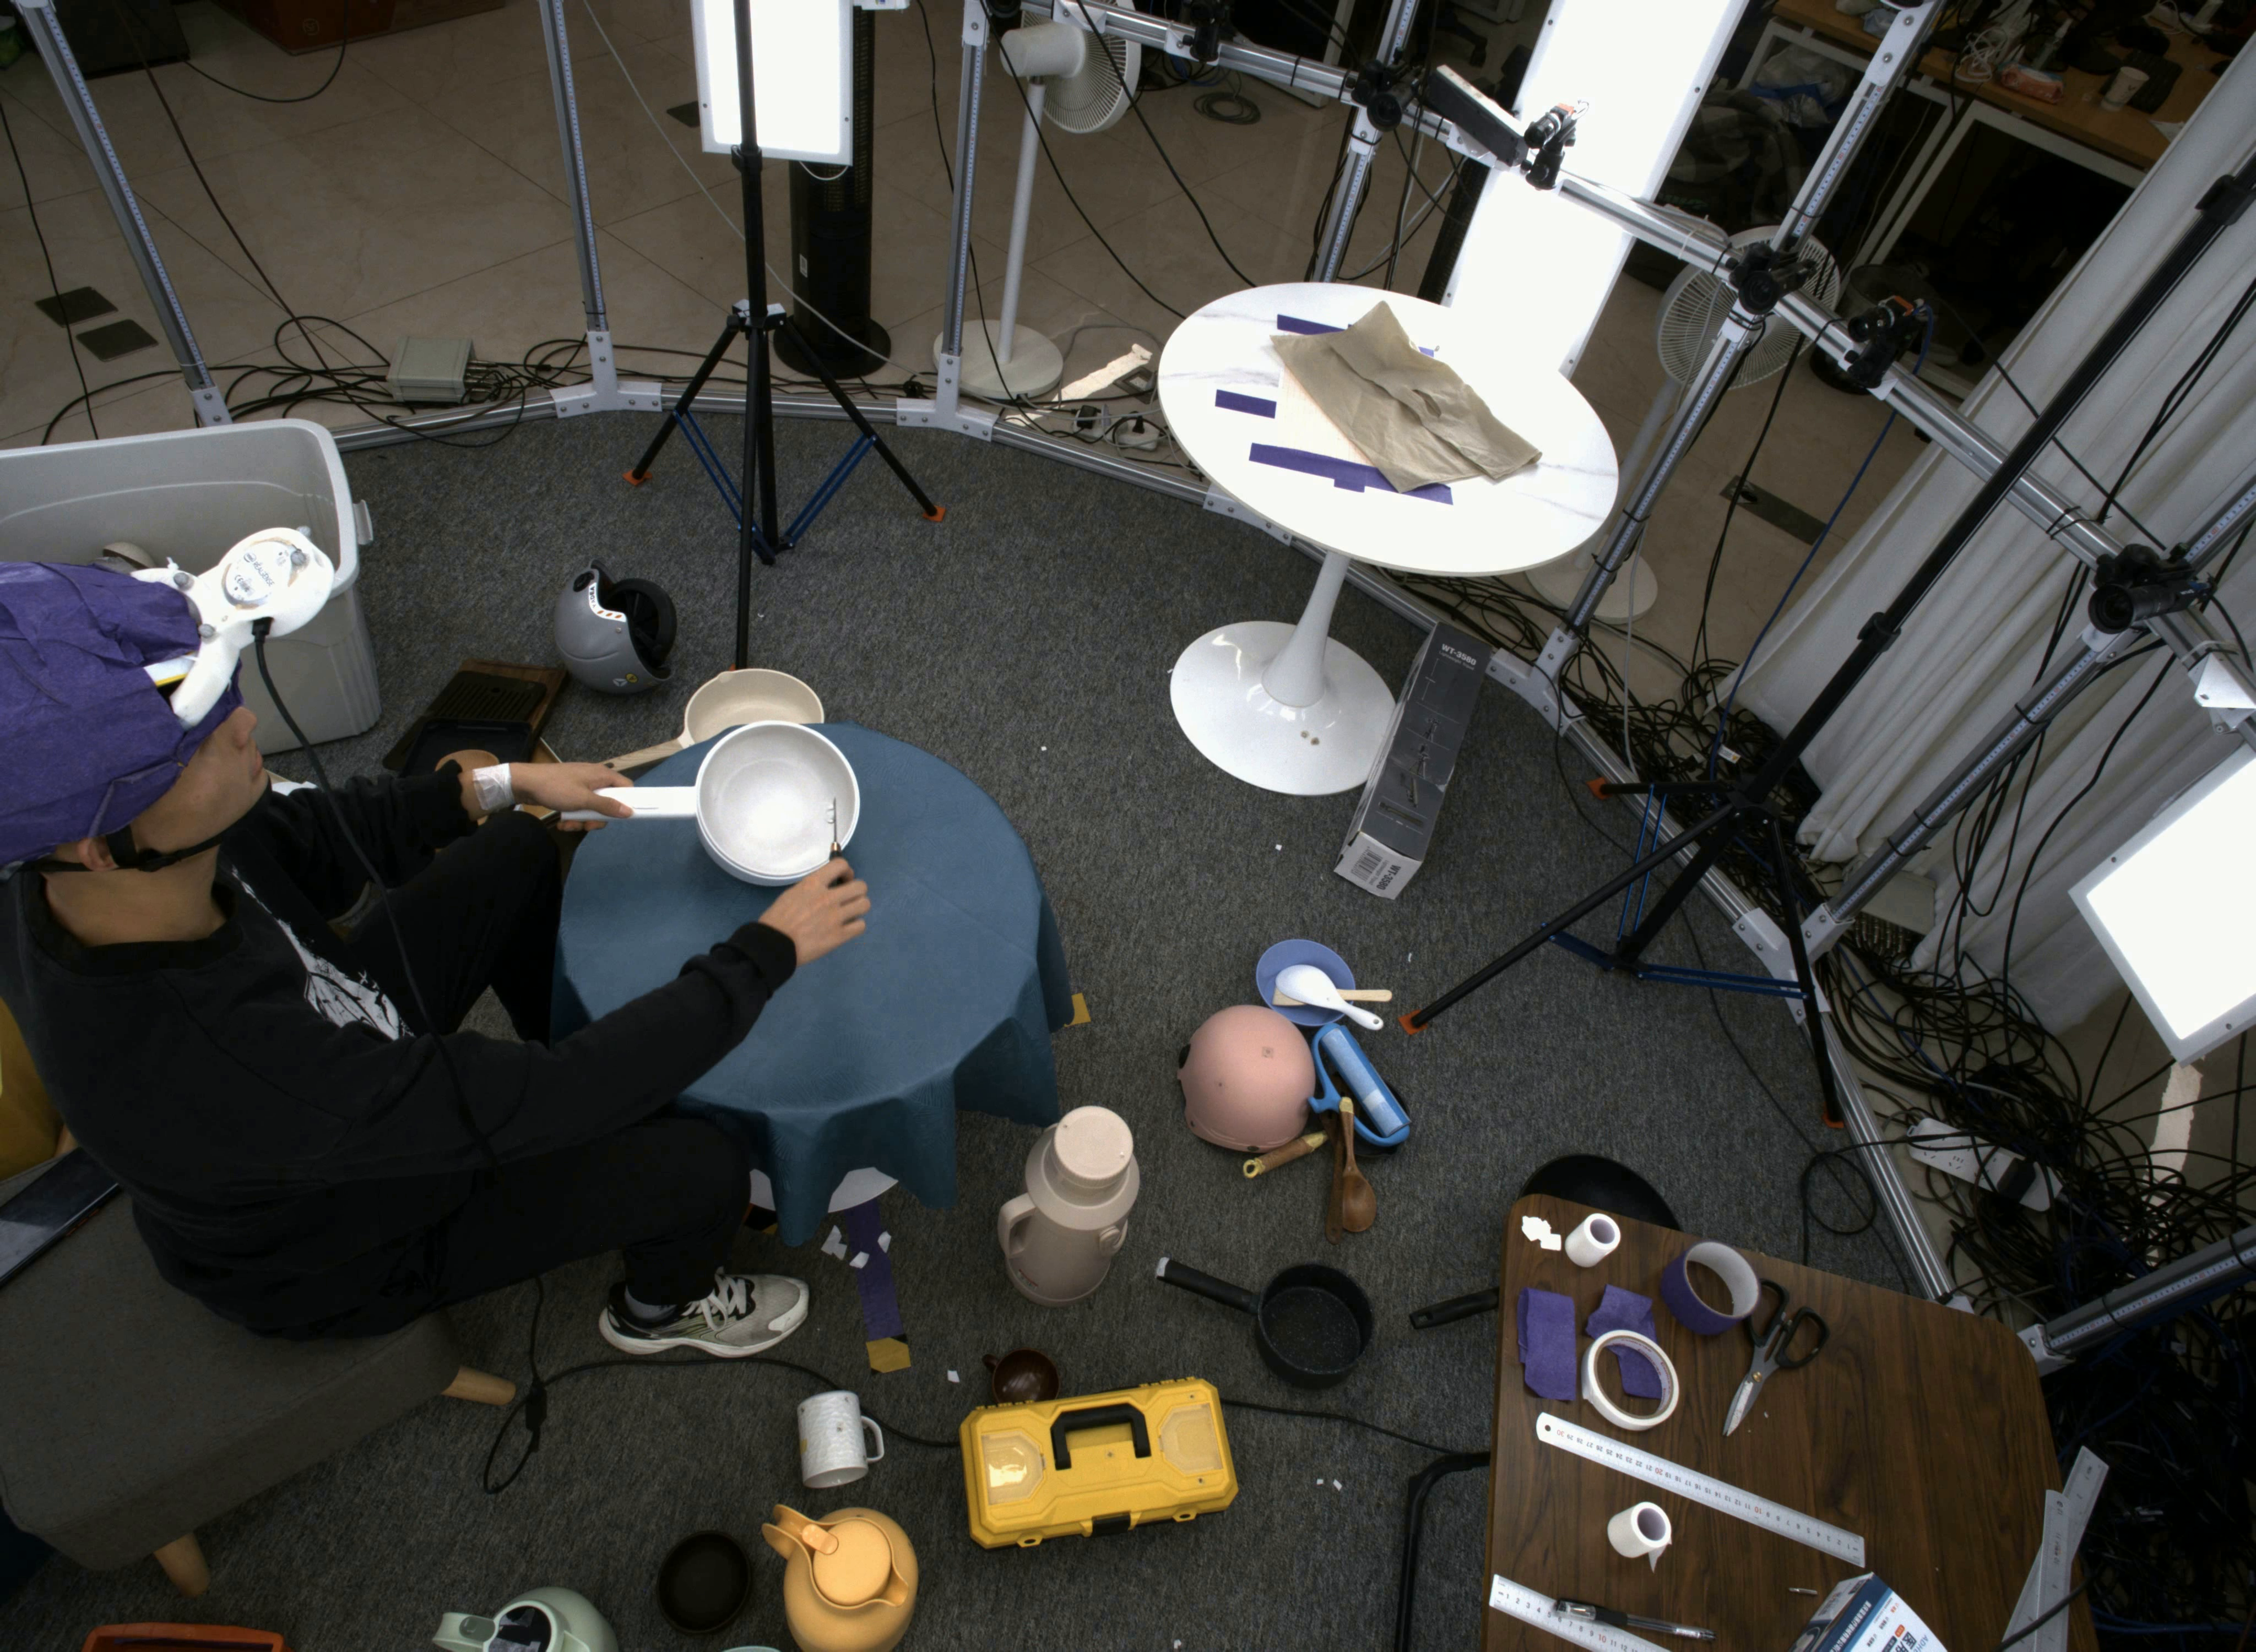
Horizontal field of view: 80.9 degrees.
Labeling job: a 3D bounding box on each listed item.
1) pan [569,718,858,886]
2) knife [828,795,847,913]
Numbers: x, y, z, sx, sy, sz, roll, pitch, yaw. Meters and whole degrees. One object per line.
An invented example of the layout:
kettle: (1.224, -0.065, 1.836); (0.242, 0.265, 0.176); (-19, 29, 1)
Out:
pan: (-0.520, -0.024, 1.608); (0.358, 0.101, 0.202); (-2, 81, -23)
knife: (-0.339, 0.024, 1.510); (0.017, 0.027, 0.219); (-22, 40, 3)
